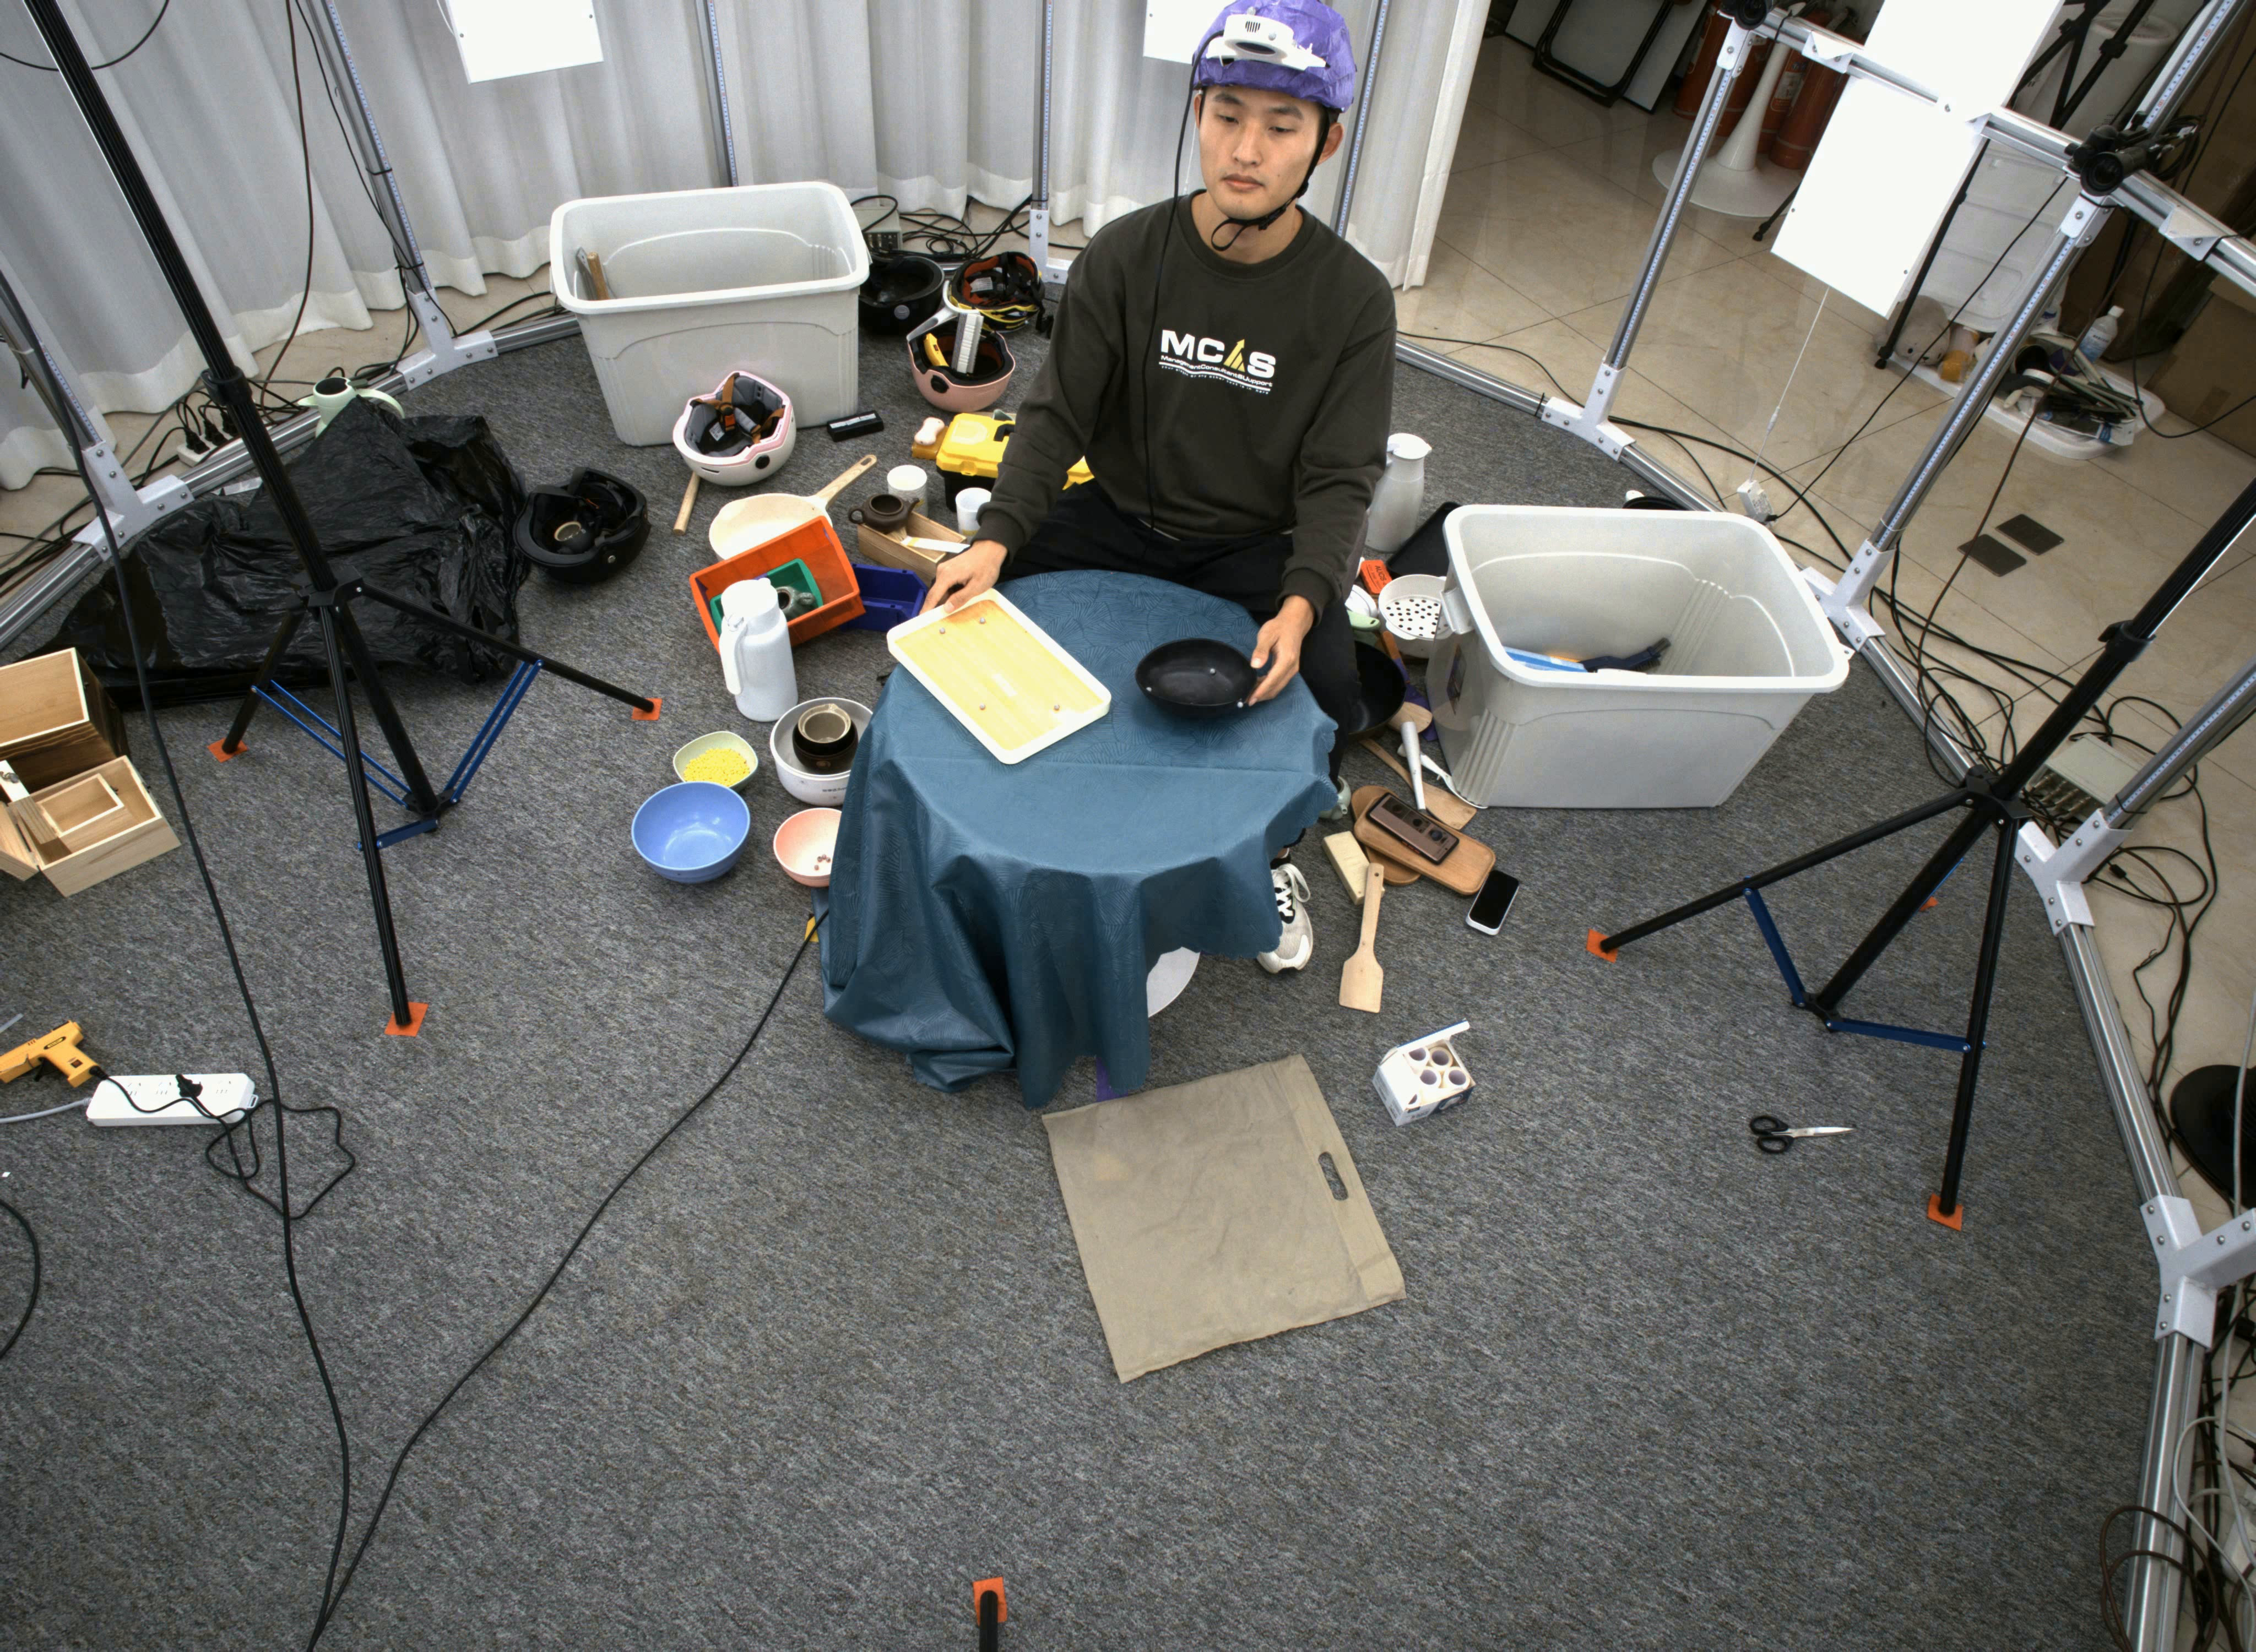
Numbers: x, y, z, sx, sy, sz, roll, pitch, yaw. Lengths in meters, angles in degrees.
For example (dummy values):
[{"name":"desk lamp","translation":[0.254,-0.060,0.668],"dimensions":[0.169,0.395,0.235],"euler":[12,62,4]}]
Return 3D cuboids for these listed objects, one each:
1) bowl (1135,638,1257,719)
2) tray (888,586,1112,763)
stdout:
[{"name":"bowl","translation":[0.094,-0.195,1.802],"dimensions":[0.170,0.065,0.141],"euler":[1,48,-1]},{"name":"tray","translation":[-0.183,-0.221,1.825],"dimensions":[0.193,0.027,0.305],"euler":[-30,58,-27]}]
